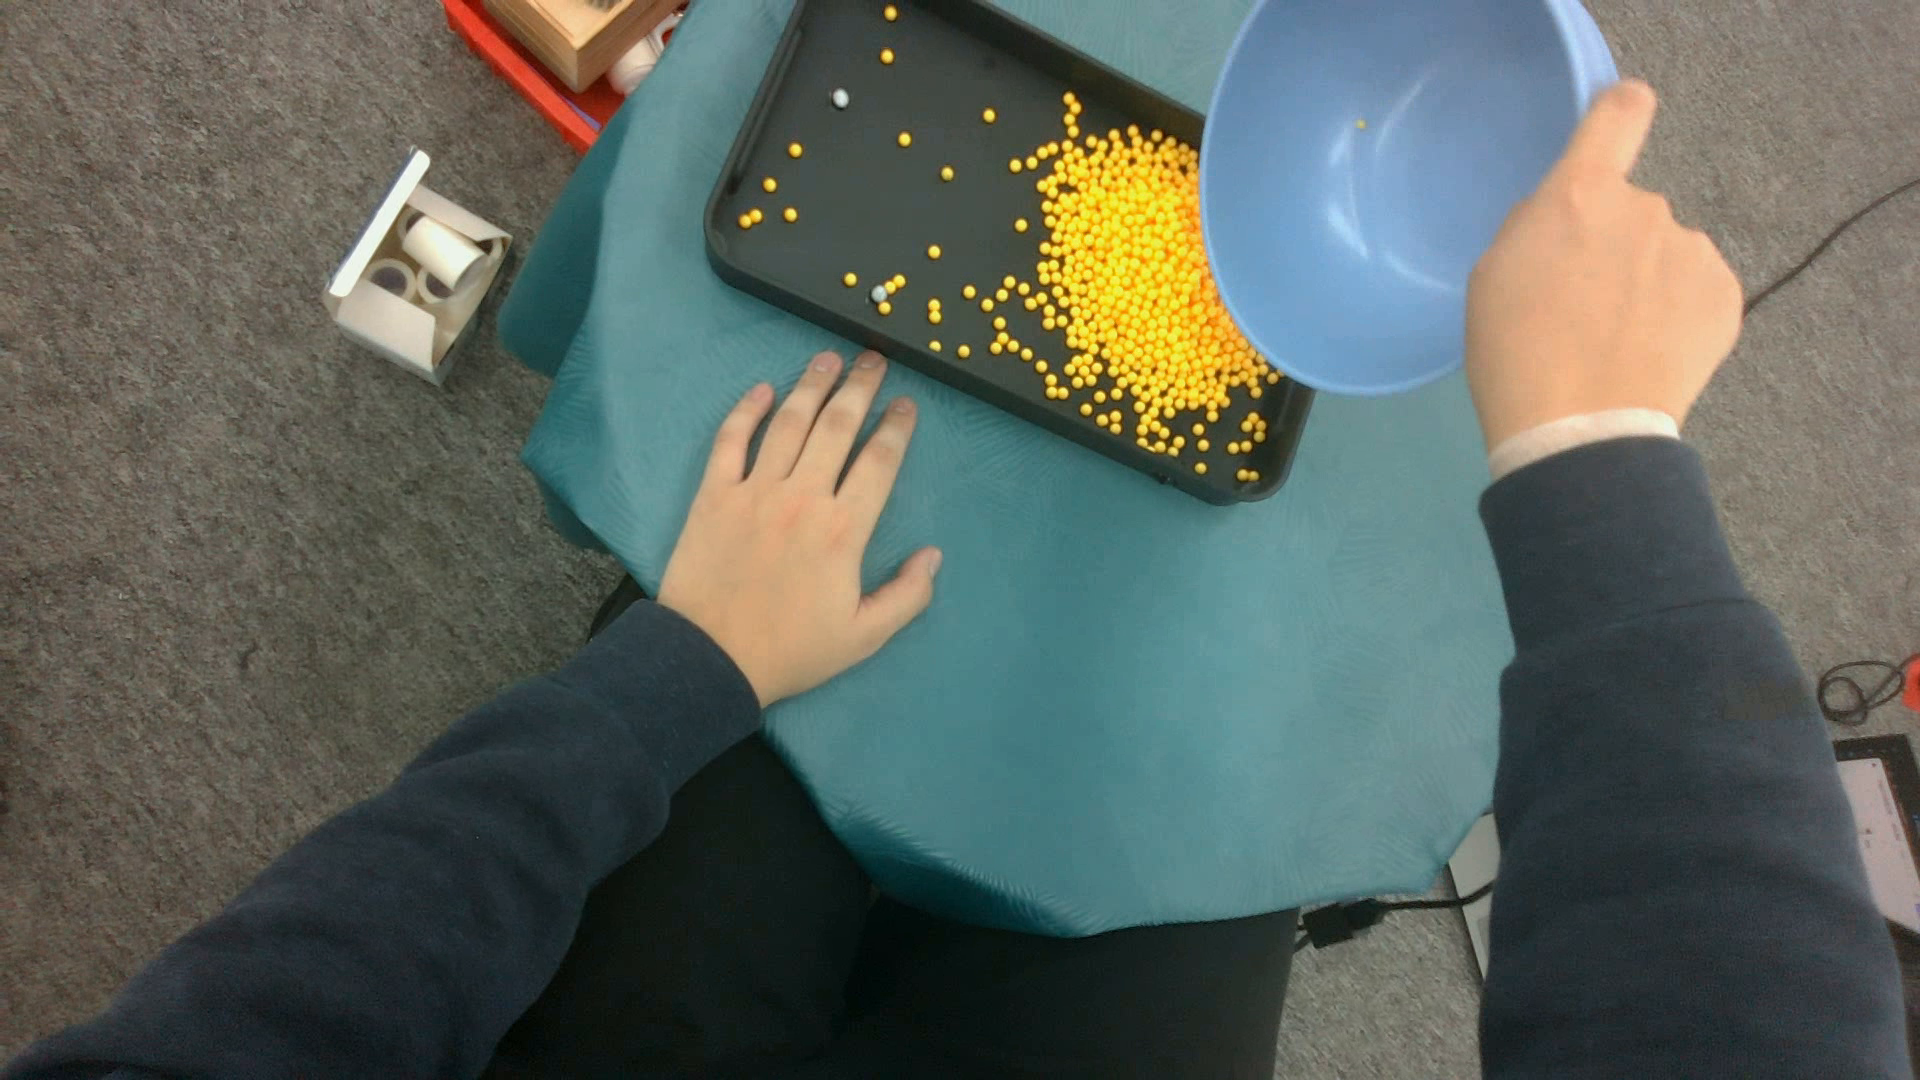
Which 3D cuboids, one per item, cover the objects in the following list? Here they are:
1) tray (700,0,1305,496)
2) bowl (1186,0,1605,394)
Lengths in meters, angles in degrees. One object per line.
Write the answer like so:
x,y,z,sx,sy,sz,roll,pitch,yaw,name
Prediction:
0.040,-0.155,0.718,0.318,0.037,0.184,21,78,-11,tray
0.207,-0.165,0.623,0.096,0.195,0.196,-5,82,-37,bowl
